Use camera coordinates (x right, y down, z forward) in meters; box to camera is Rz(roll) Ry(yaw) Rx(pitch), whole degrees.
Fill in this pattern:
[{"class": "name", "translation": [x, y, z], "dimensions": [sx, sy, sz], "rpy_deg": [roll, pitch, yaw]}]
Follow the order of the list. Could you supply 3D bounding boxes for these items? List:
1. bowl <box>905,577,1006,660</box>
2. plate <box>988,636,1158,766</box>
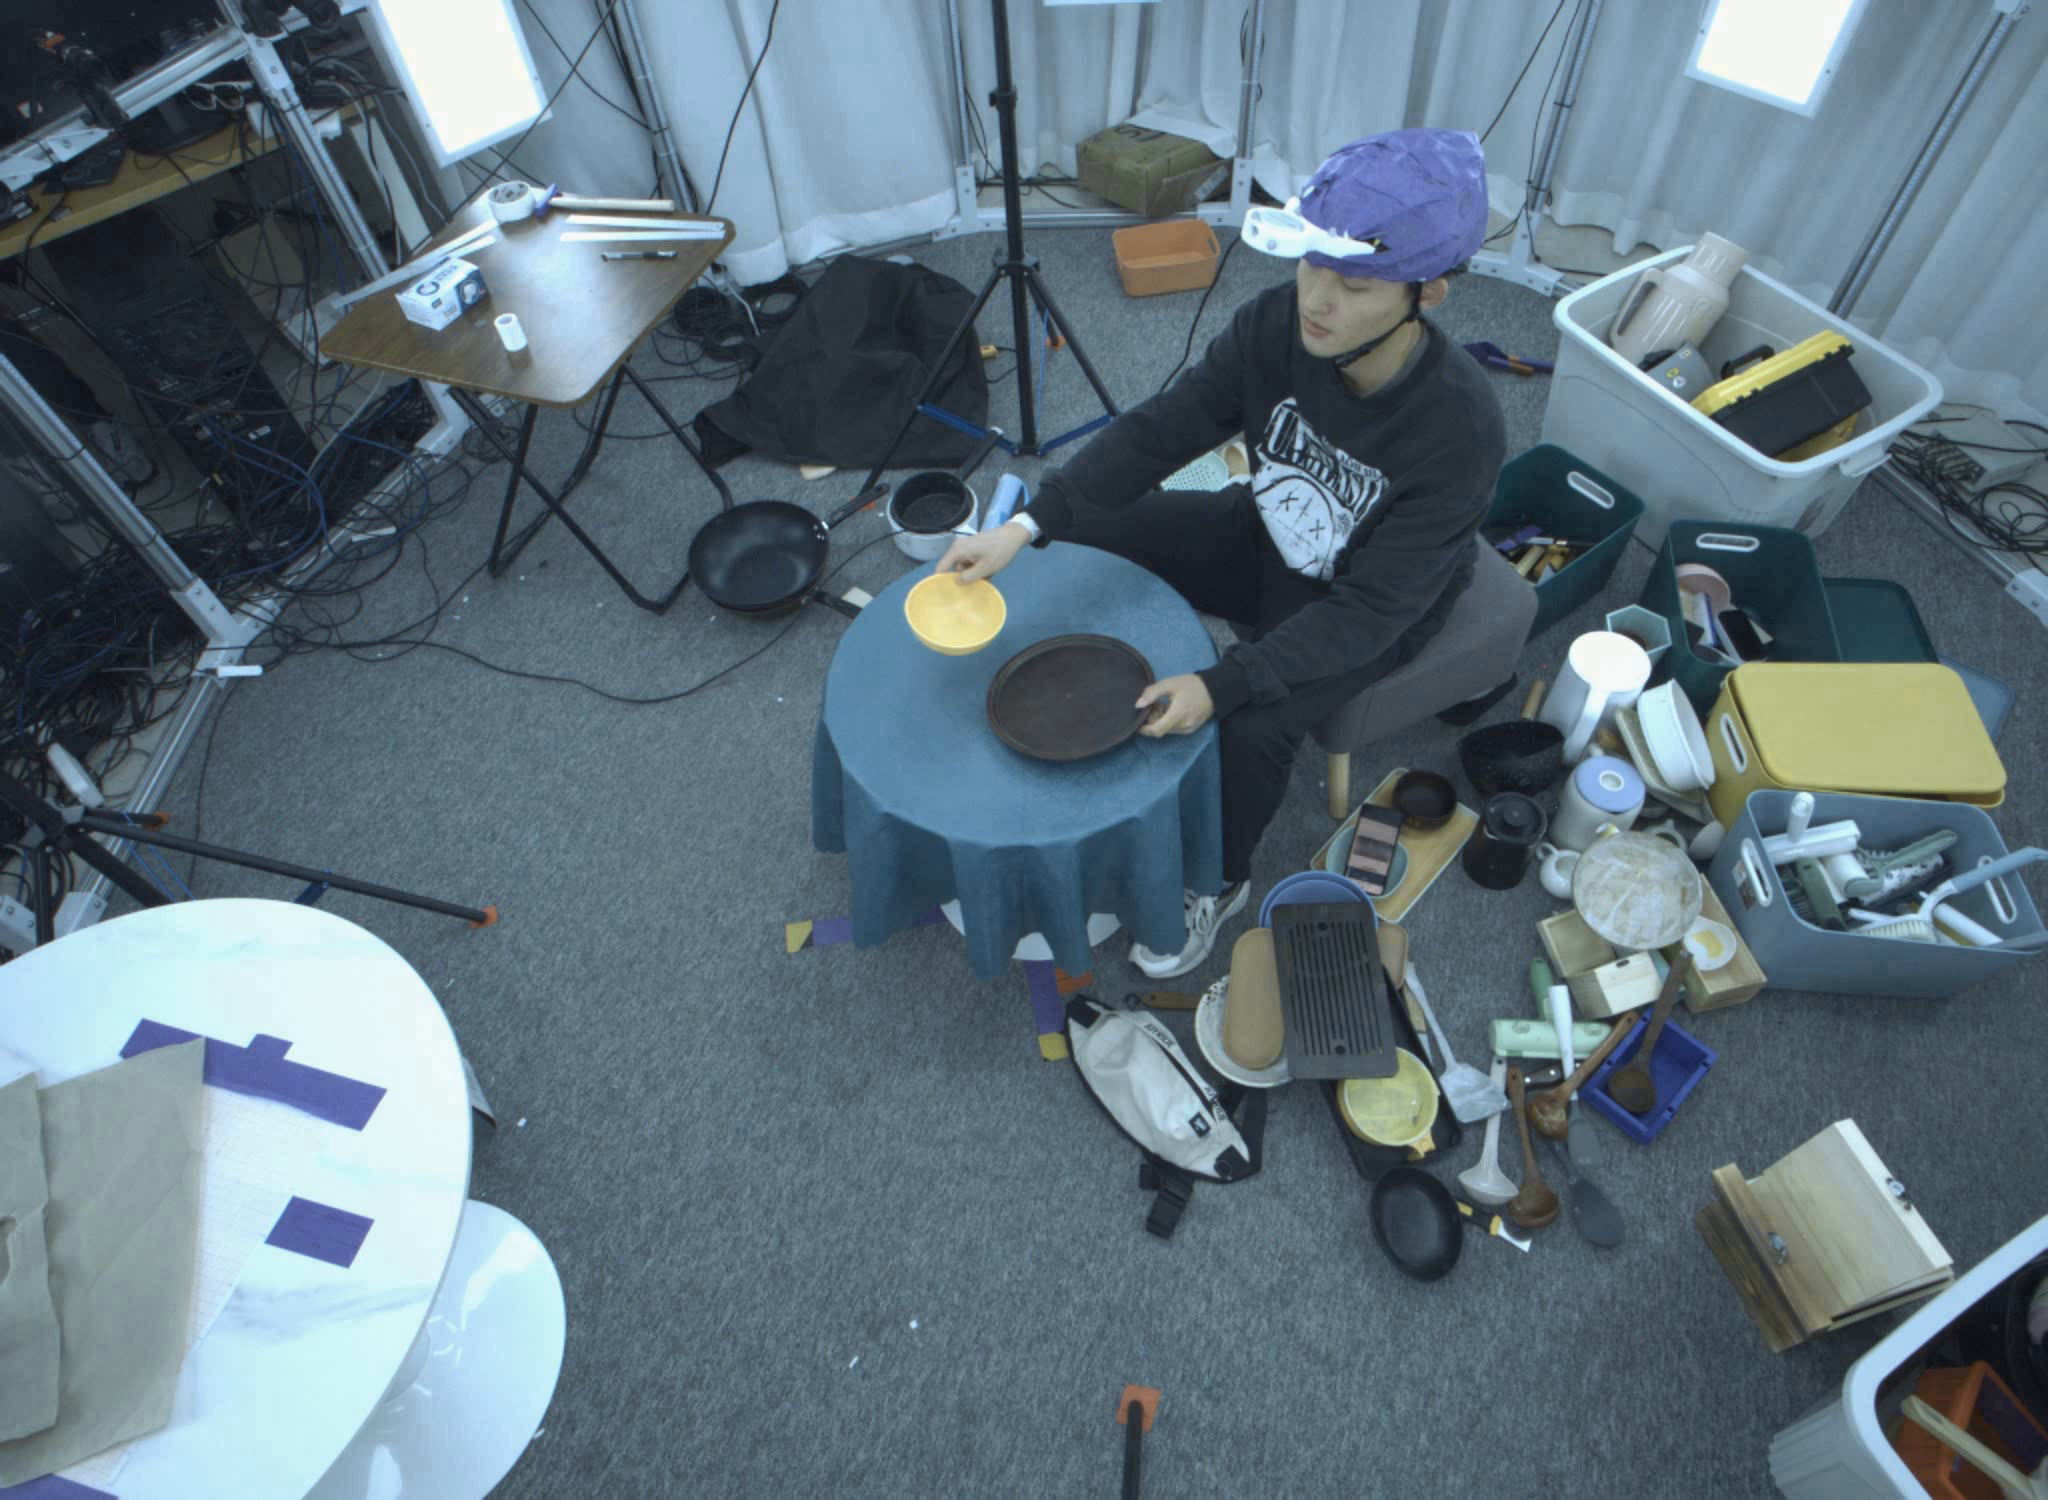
[{"class": "bowl", "translation": [-0.102, -0.179, 1.782], "dimensions": [0.146, 0.060, 0.144], "rpy_deg": [6, 54, -6]}, {"class": "plate", "translation": [0.071, -0.073, 1.814], "dimensions": [0.254, 0.029, 0.252], "rpy_deg": [-5, 48, 7]}]
